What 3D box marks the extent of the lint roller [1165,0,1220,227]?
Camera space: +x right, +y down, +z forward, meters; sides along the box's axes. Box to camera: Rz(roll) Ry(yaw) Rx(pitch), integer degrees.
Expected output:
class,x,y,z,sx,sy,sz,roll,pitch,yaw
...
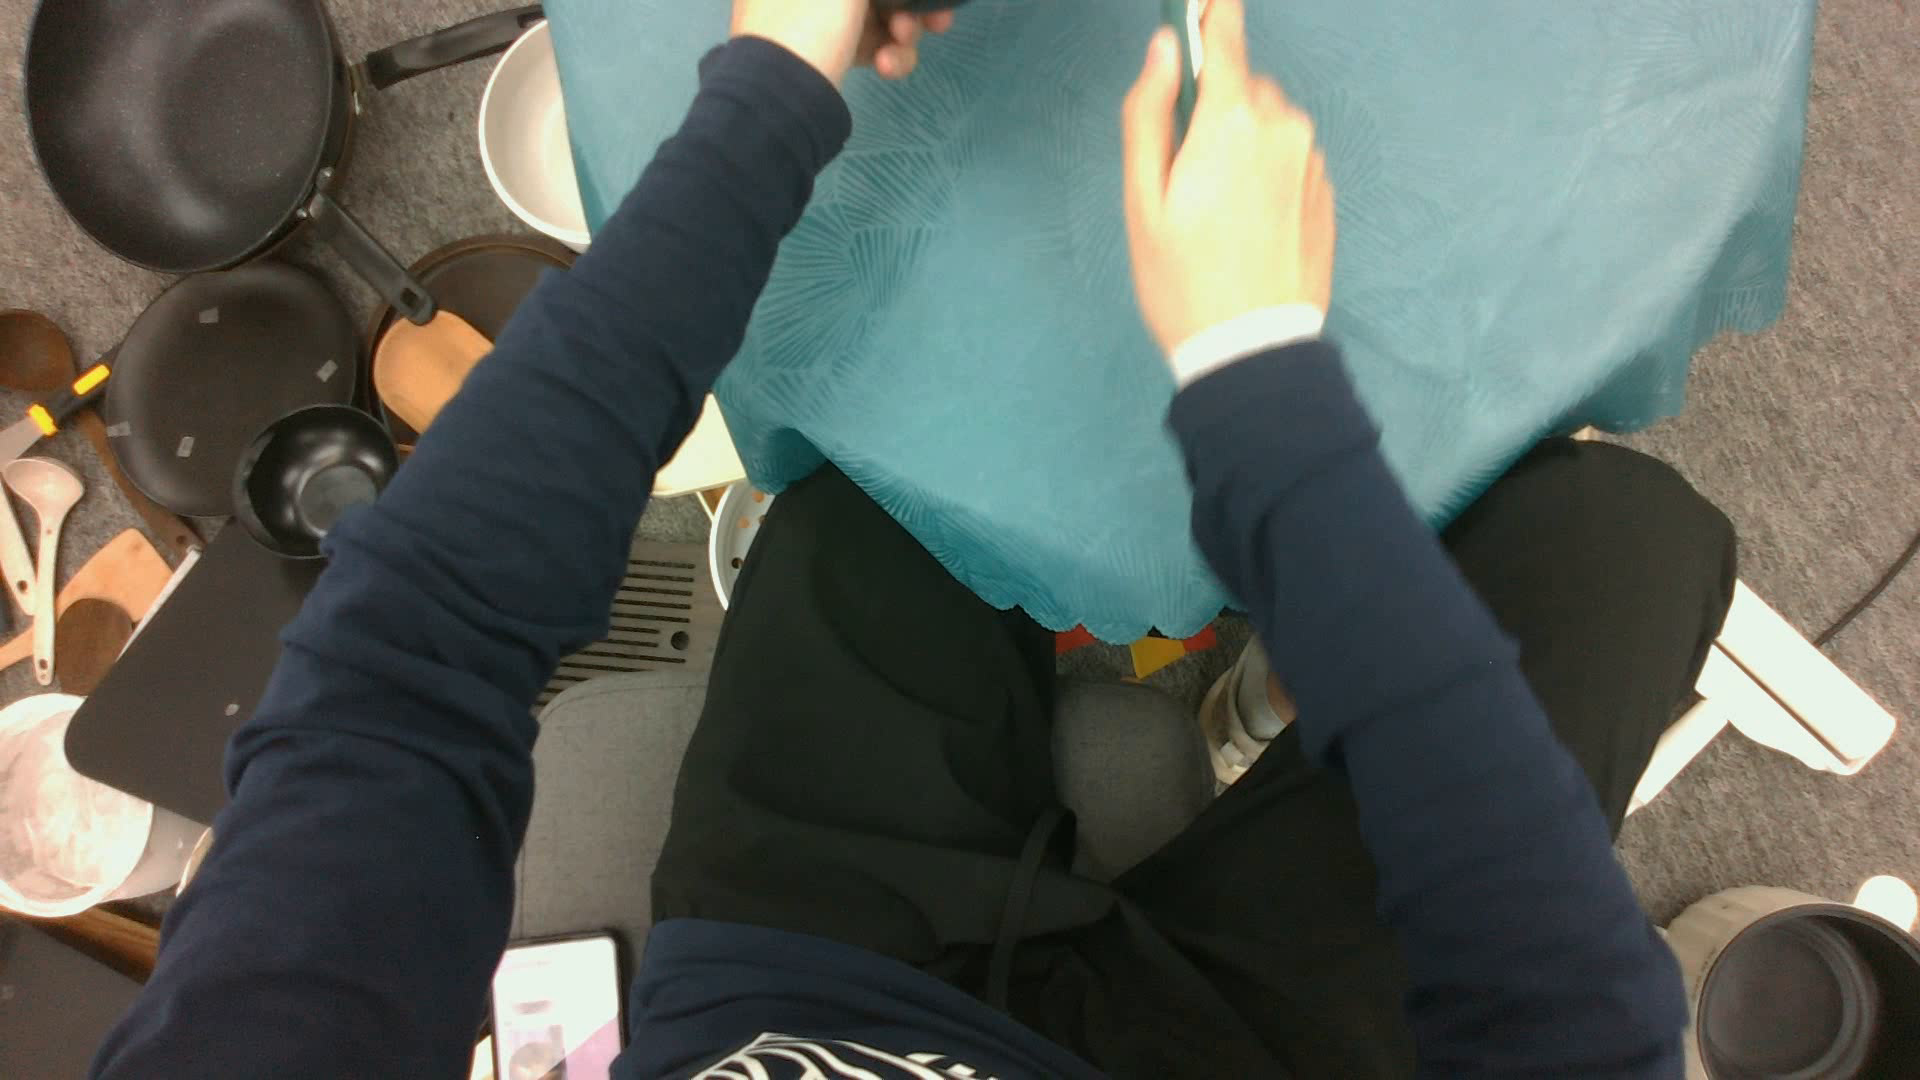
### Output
class,x,y,z,sx,sy,sz,roll,pitch,yaw
lint roller,0.092,-0.211,0.516,0.048,0.135,0.180,-12,89,29

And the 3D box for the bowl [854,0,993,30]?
class,x,y,z,sx,sy,sz,roll,pitch,yaw
bowl,0.015,-0.279,0.565,0.067,0.137,0.170,25,73,-37
